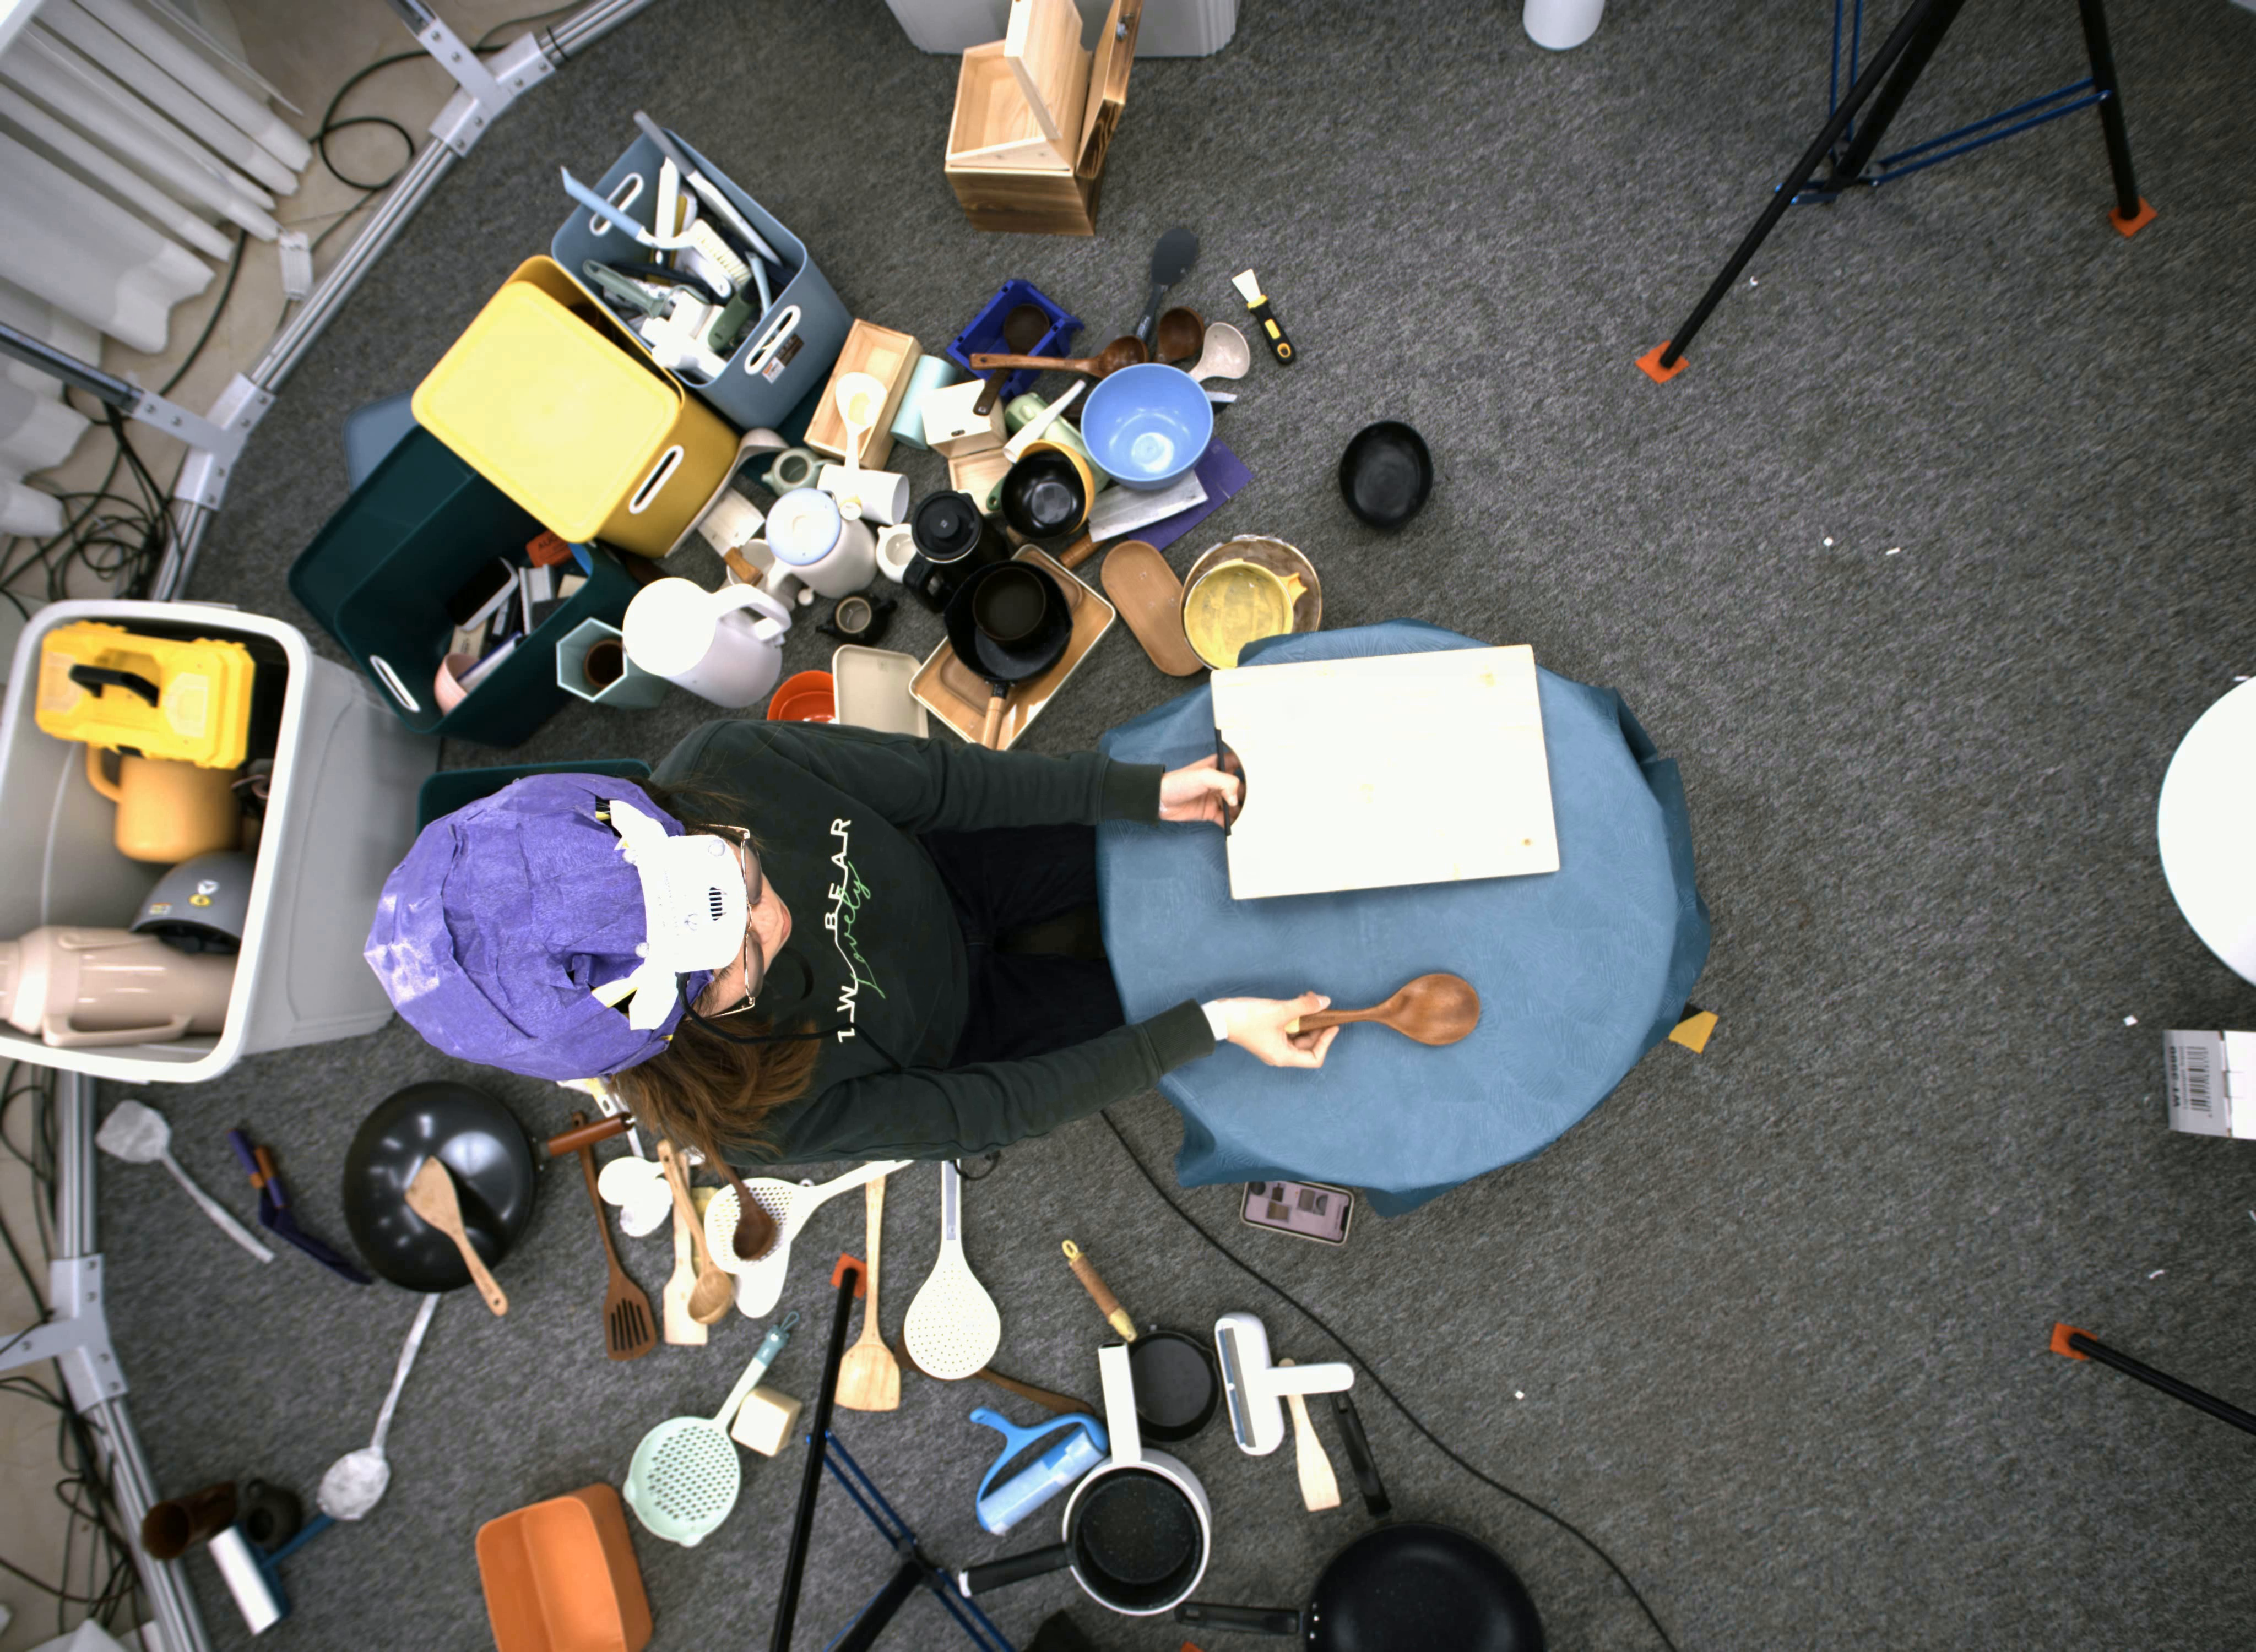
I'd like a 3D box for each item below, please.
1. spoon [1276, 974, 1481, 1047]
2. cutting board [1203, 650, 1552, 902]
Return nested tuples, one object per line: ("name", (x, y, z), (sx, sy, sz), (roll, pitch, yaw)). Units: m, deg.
("spoon", (0.259, 0.194, 1.430), (0.216, 0.017, 0.075), (-4, 89, -5))
("cutting board", (0.261, -0.055, 1.434), (0.349, 0.024, 0.249), (-6, 84, -1))
